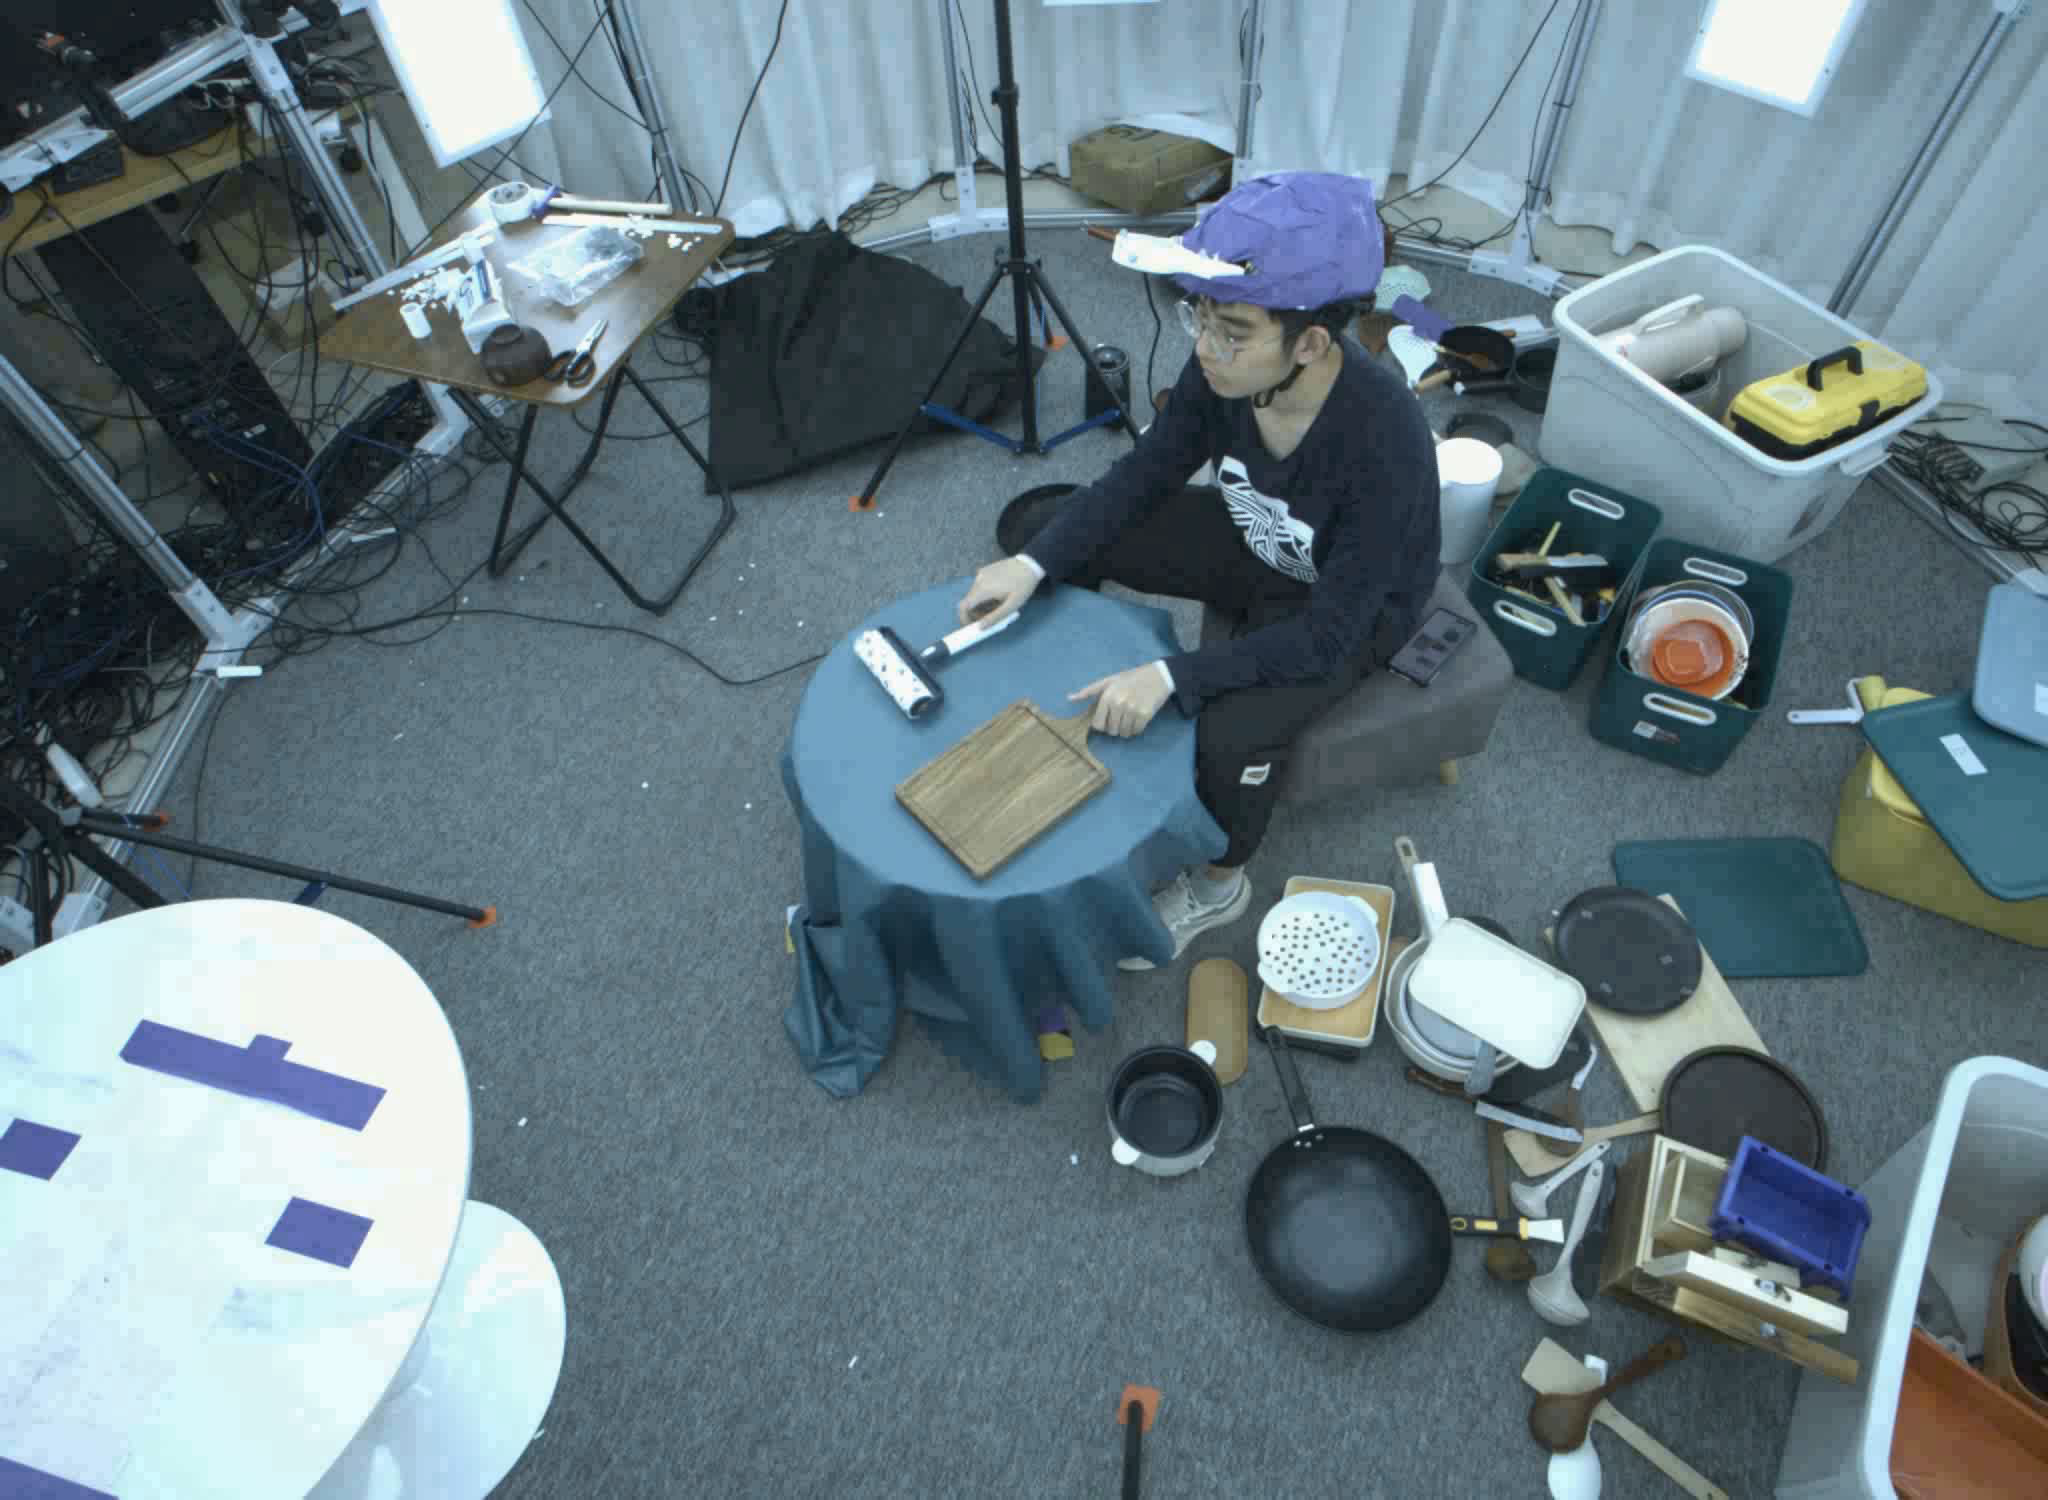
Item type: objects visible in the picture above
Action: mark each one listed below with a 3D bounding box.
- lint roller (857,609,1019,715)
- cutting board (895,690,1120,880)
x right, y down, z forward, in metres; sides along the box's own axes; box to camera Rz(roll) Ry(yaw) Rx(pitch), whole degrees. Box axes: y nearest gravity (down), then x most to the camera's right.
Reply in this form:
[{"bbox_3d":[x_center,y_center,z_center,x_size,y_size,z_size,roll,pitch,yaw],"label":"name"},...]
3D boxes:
[{"bbox_3d":[-0.115,-0.166,1.890,0.249,0.051,0.173,-30,58,-21],"label":"lint roller"},{"bbox_3d":[0.007,0.020,1.767,0.355,0.023,0.197,-37,62,-22],"label":"cutting board"}]
